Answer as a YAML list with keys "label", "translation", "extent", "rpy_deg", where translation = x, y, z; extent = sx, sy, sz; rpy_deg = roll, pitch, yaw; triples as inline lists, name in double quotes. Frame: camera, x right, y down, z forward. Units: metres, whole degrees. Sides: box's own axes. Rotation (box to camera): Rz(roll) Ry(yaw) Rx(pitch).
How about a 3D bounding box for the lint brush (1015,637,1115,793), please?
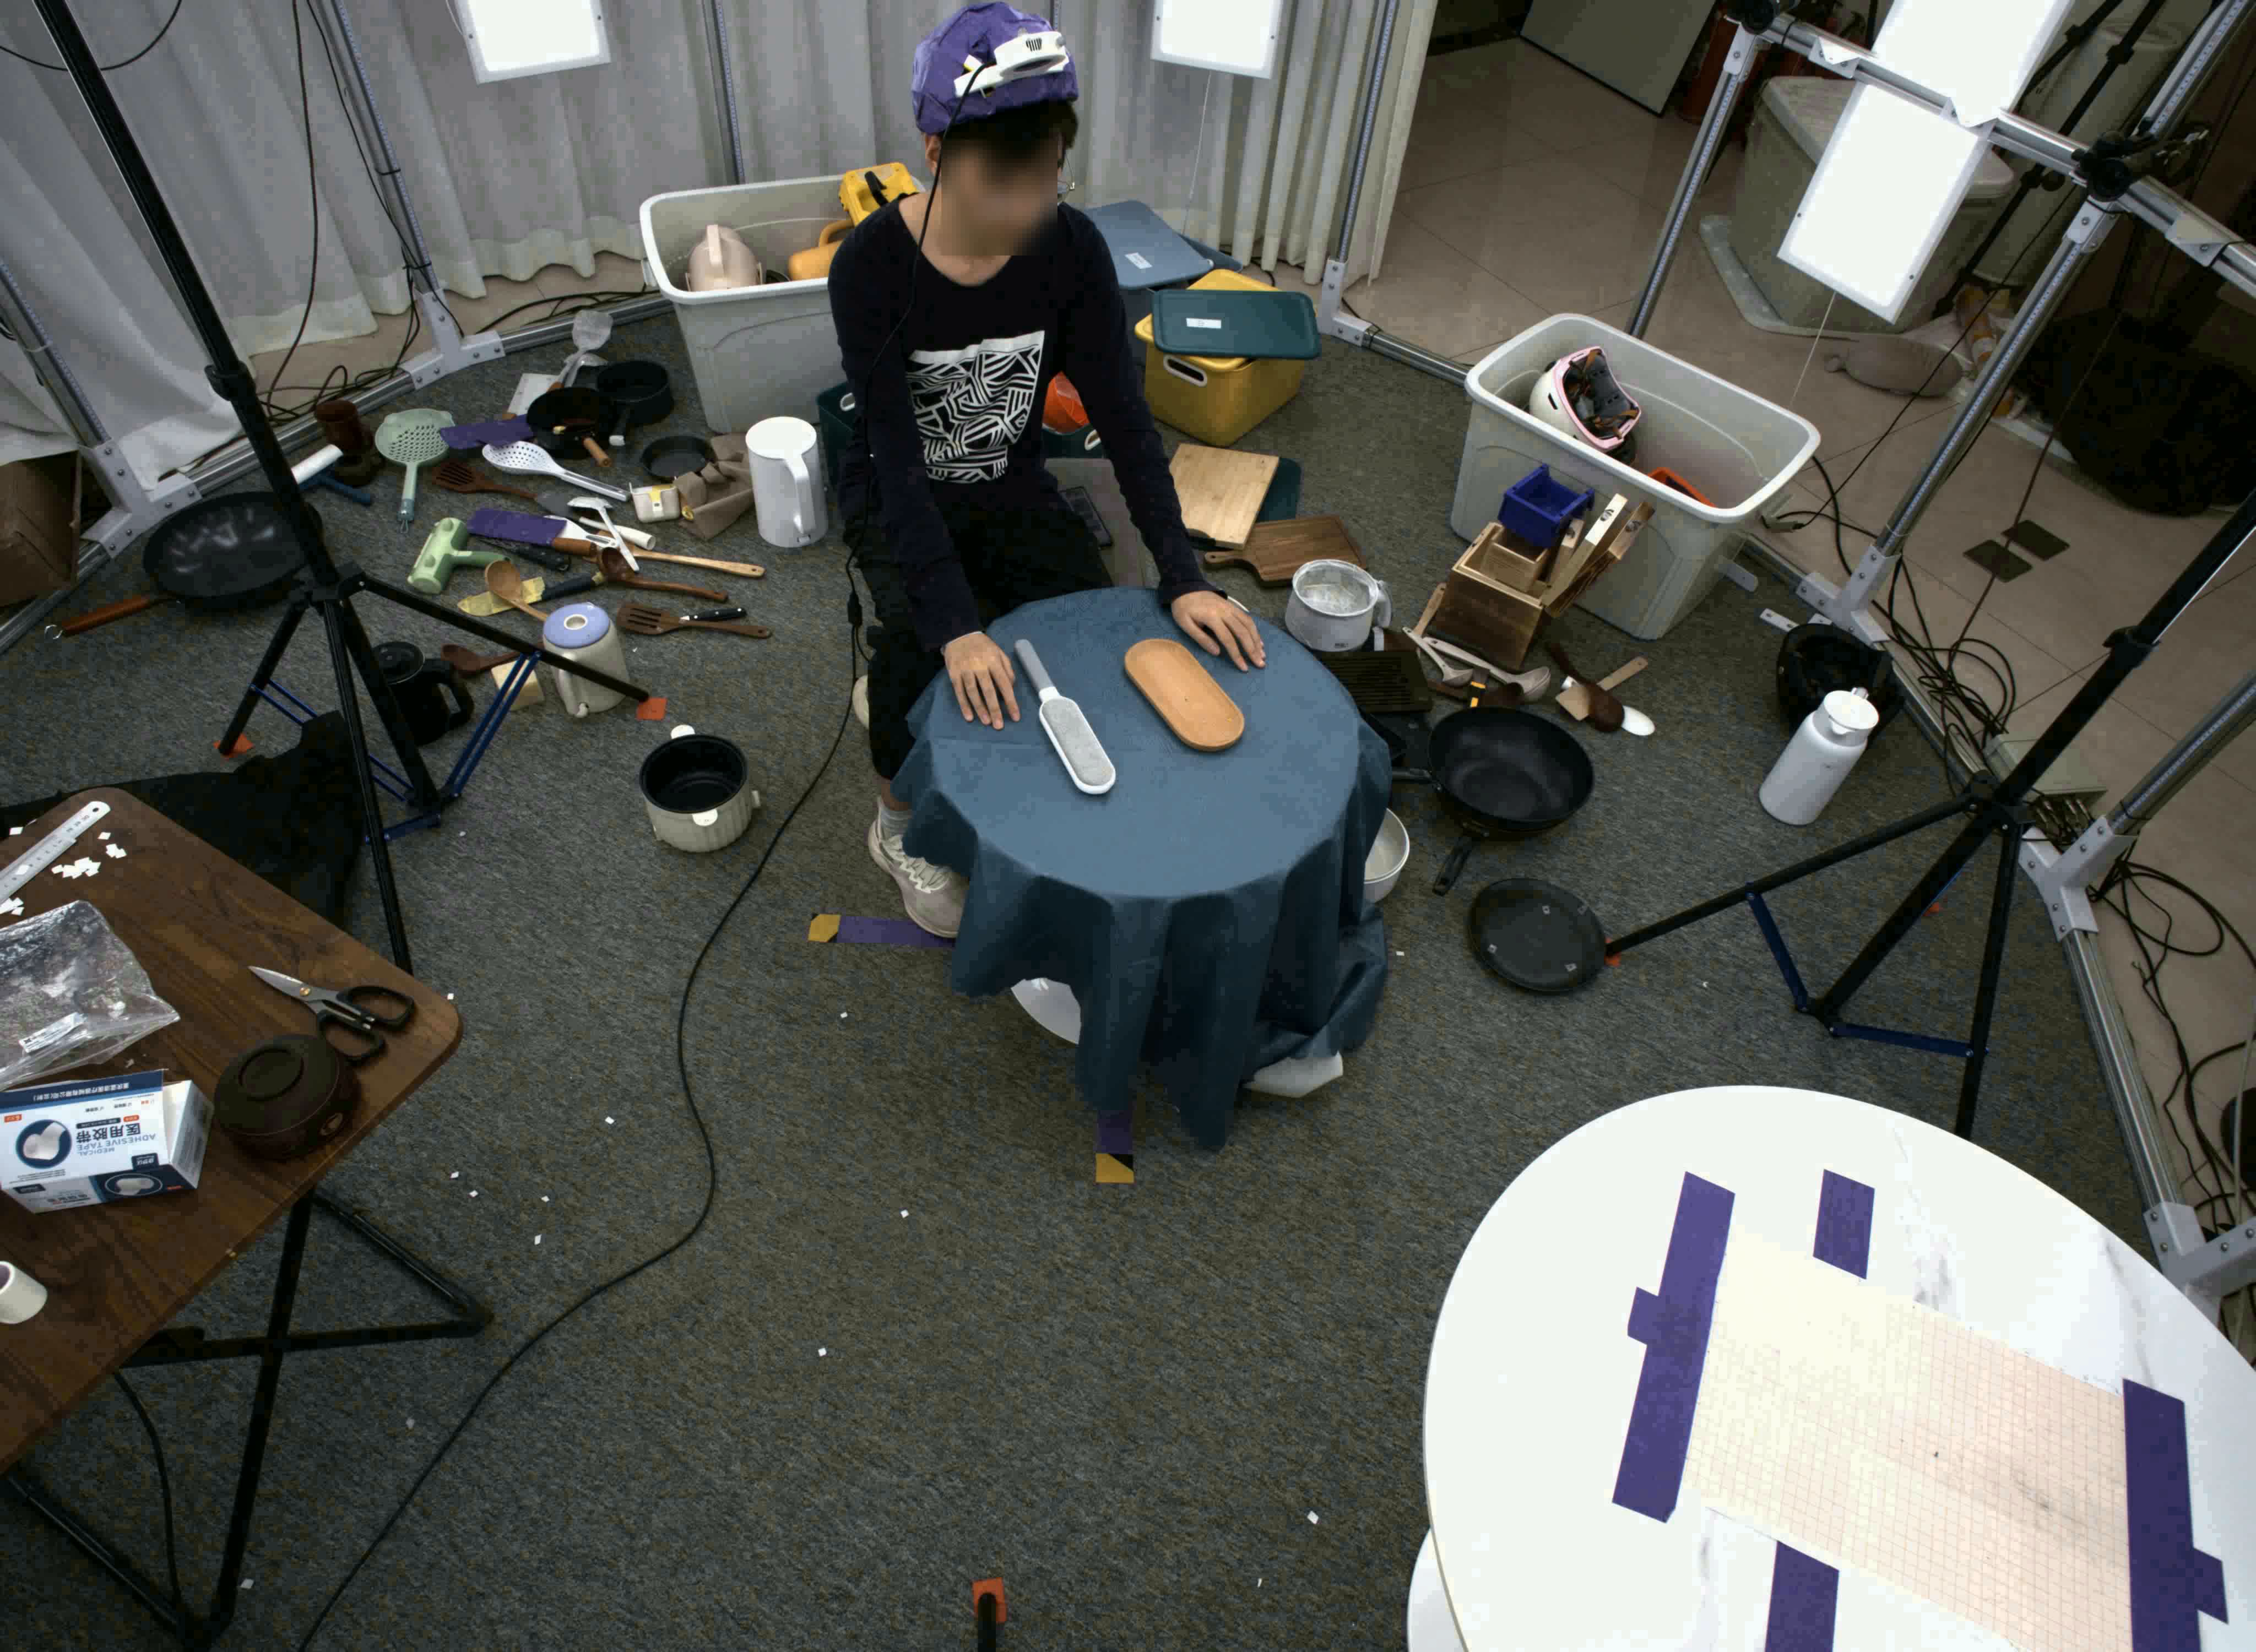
- label: "lint brush"
  translation: [-0.094, -0.160, 1.782]
  extent: [0.060, 0.020, 0.316]
  rpy_deg: [-19, 53, -13]

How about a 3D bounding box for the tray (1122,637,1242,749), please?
- label: "tray"
  translation: [0.075, -0.192, 1.828]
  extent: [0.102, 0.020, 0.236]
  rpy_deg: [-21, 52, -23]
